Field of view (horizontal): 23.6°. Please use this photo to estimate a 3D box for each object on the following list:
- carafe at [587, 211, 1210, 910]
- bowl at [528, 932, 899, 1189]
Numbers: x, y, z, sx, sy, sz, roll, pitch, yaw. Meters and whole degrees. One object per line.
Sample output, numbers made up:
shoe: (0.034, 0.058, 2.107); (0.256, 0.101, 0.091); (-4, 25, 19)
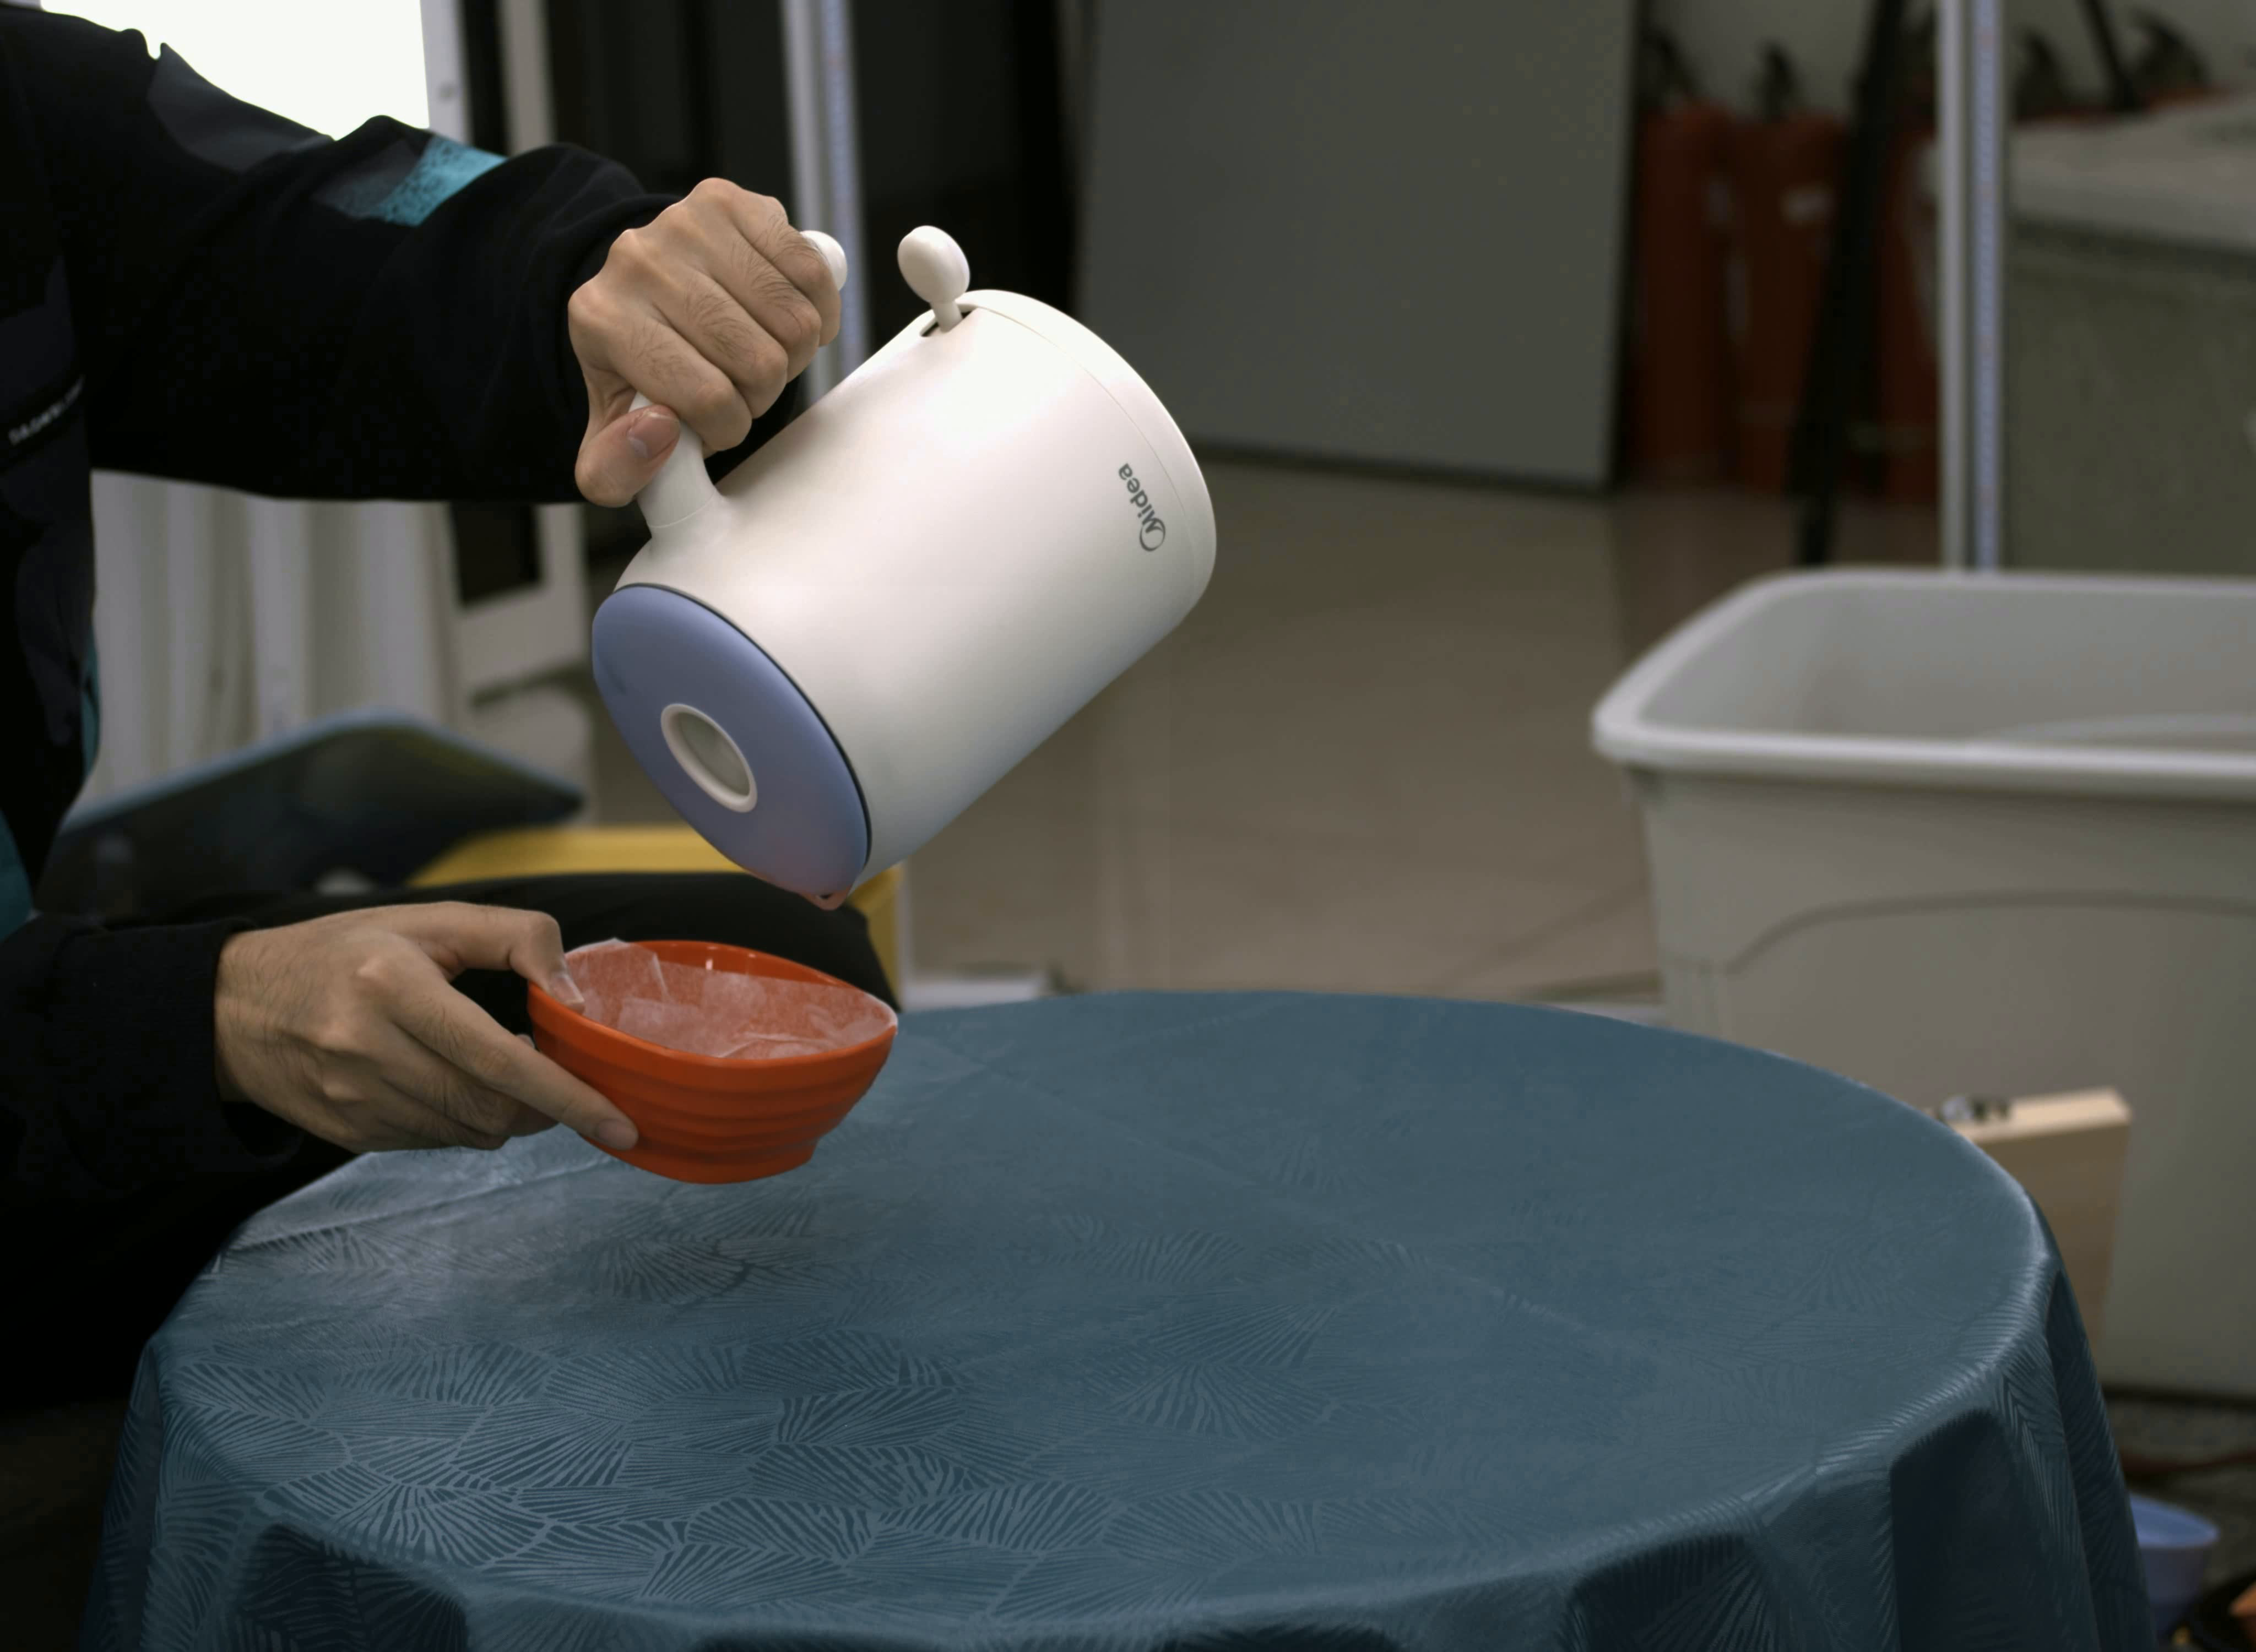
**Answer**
carafe: (-0.083, -0.097, 1.717); (0.180, 0.191, 0.133); (-39, 25, -29)
bowl: (-0.134, 0.077, 1.714); (0.117, 0.052, 0.119); (8, 17, -3)
